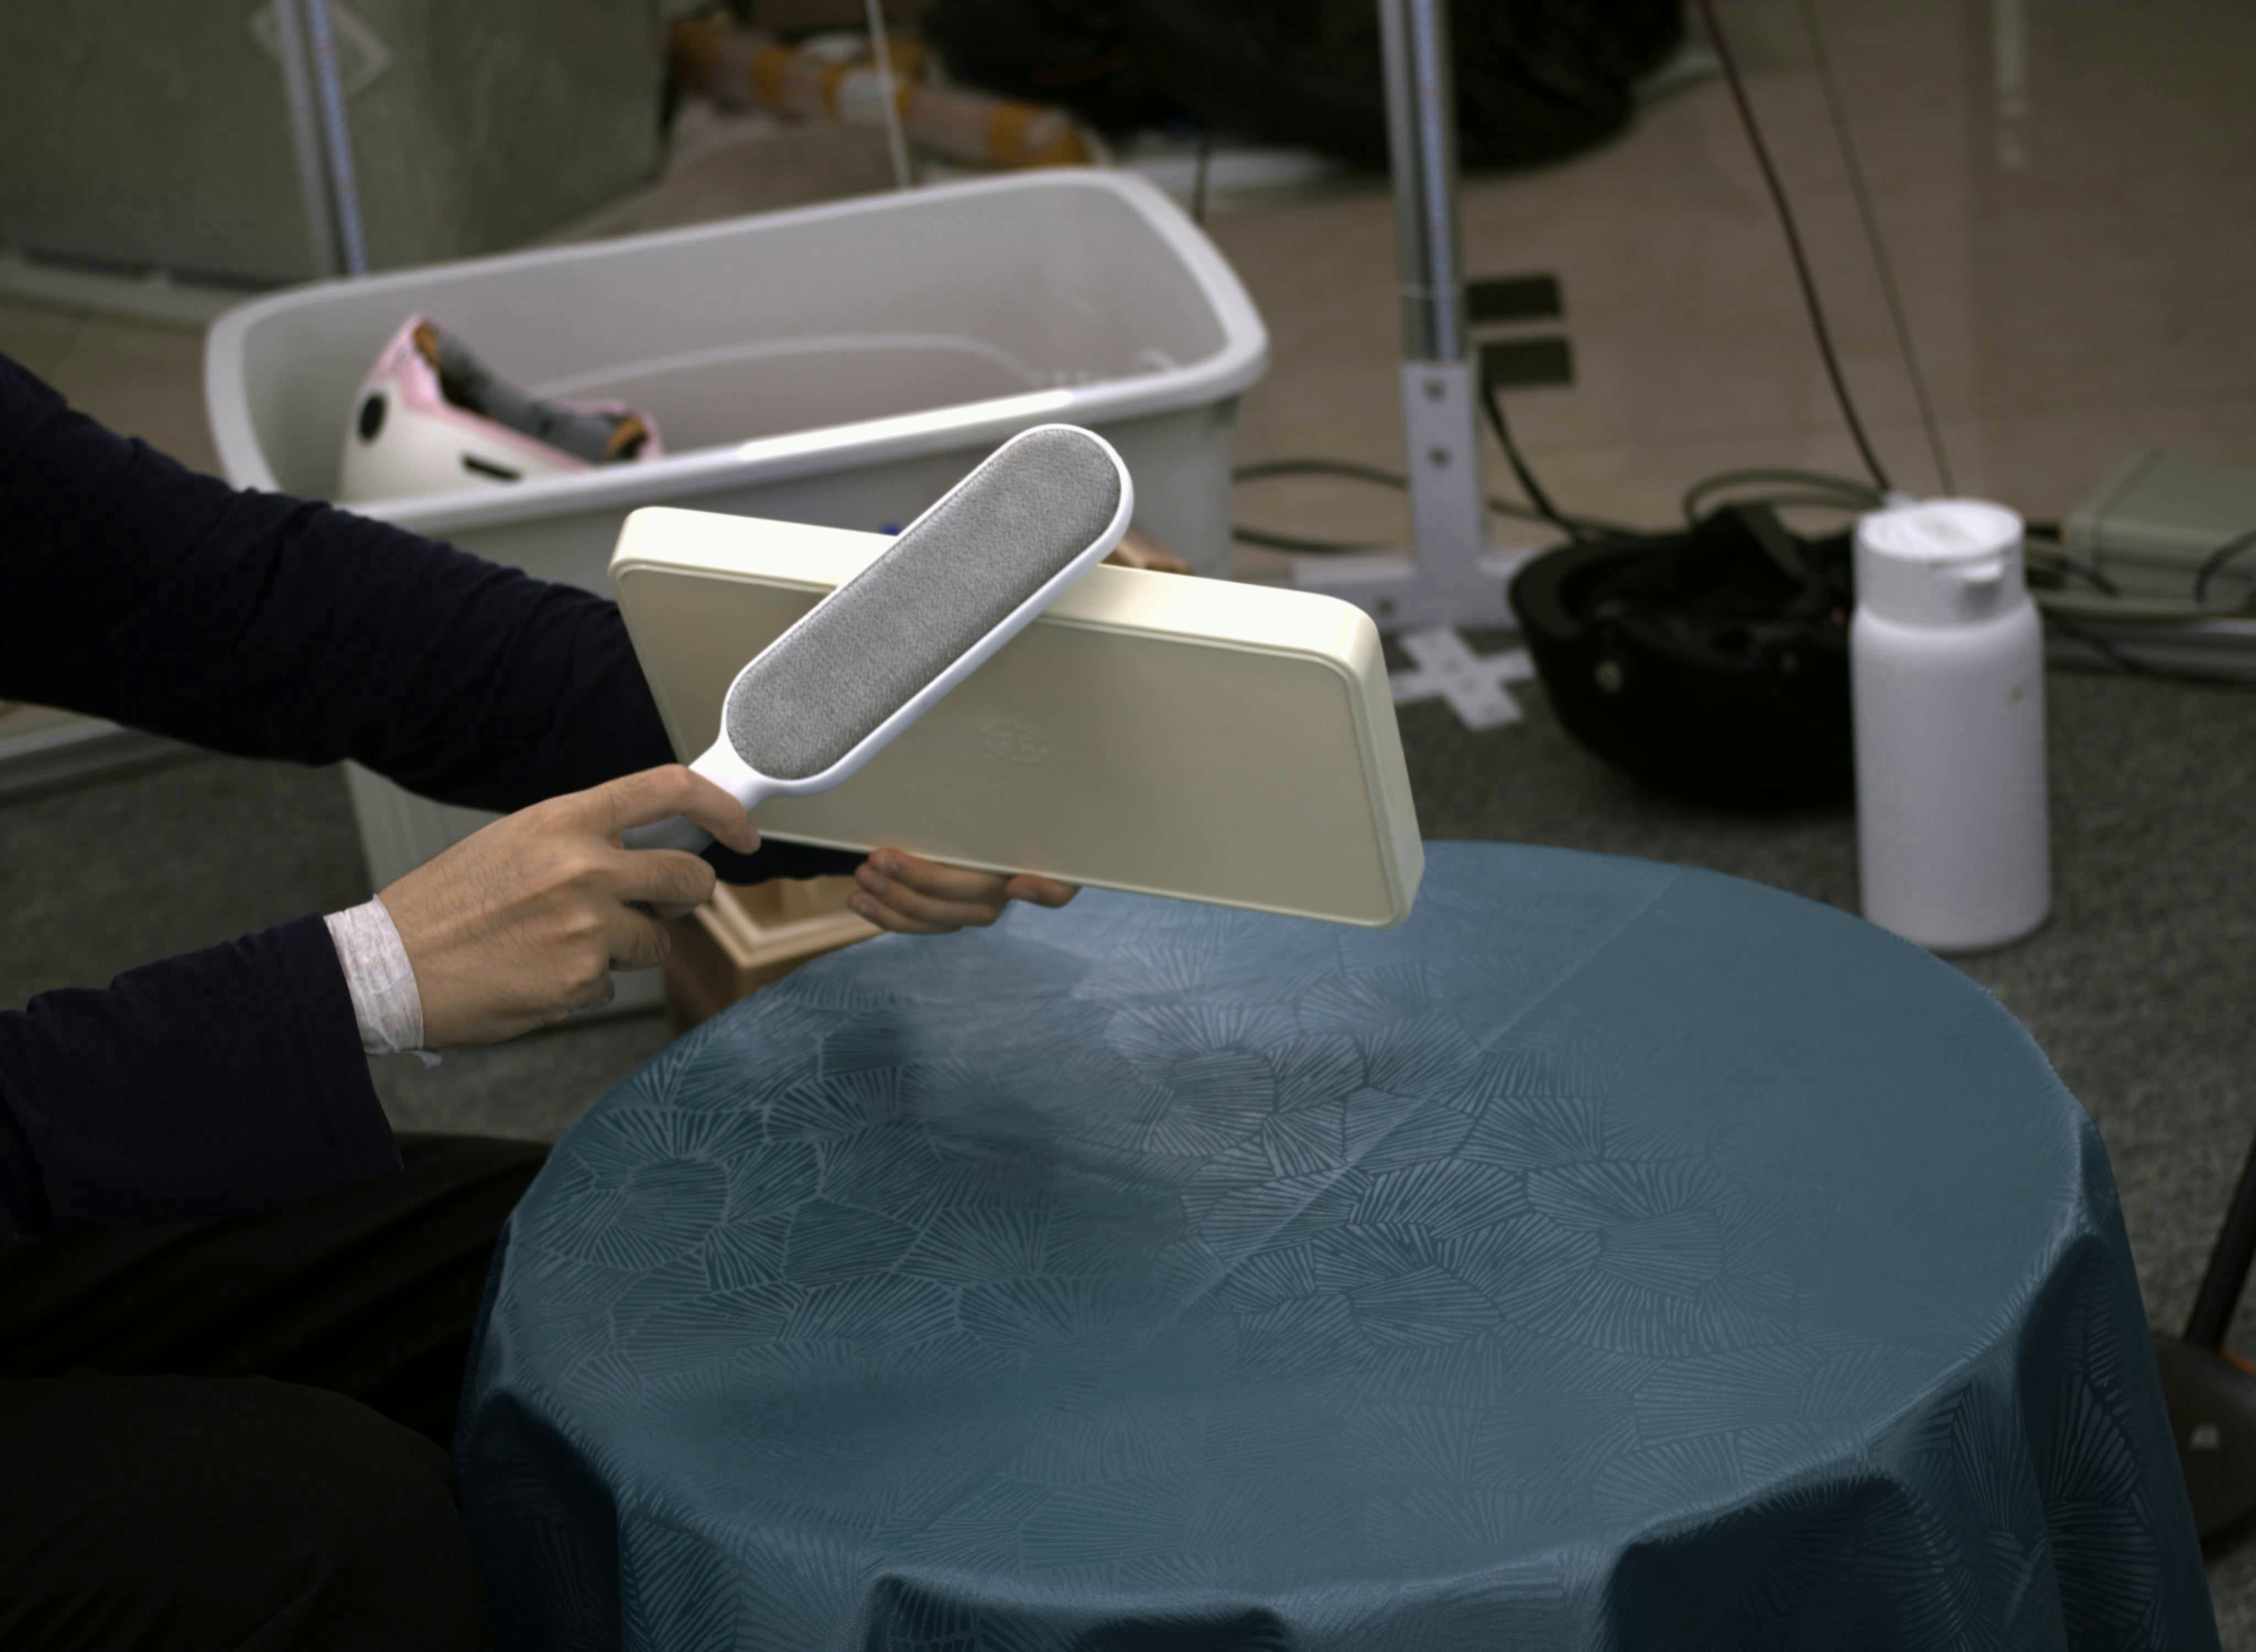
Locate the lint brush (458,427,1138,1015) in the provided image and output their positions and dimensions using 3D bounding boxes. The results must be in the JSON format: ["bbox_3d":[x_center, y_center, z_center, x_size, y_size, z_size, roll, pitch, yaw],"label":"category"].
[{"bbox_3d":[-0.121,-0.037,2.045,0.308,0.059,0.021,-40,-13,-3],"label":"lint brush"}]

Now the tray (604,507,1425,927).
[{"bbox_3d":[-0.042,-0.040,2.169,0.299,0.195,0.027,8,58,16],"label":"tray"}]
